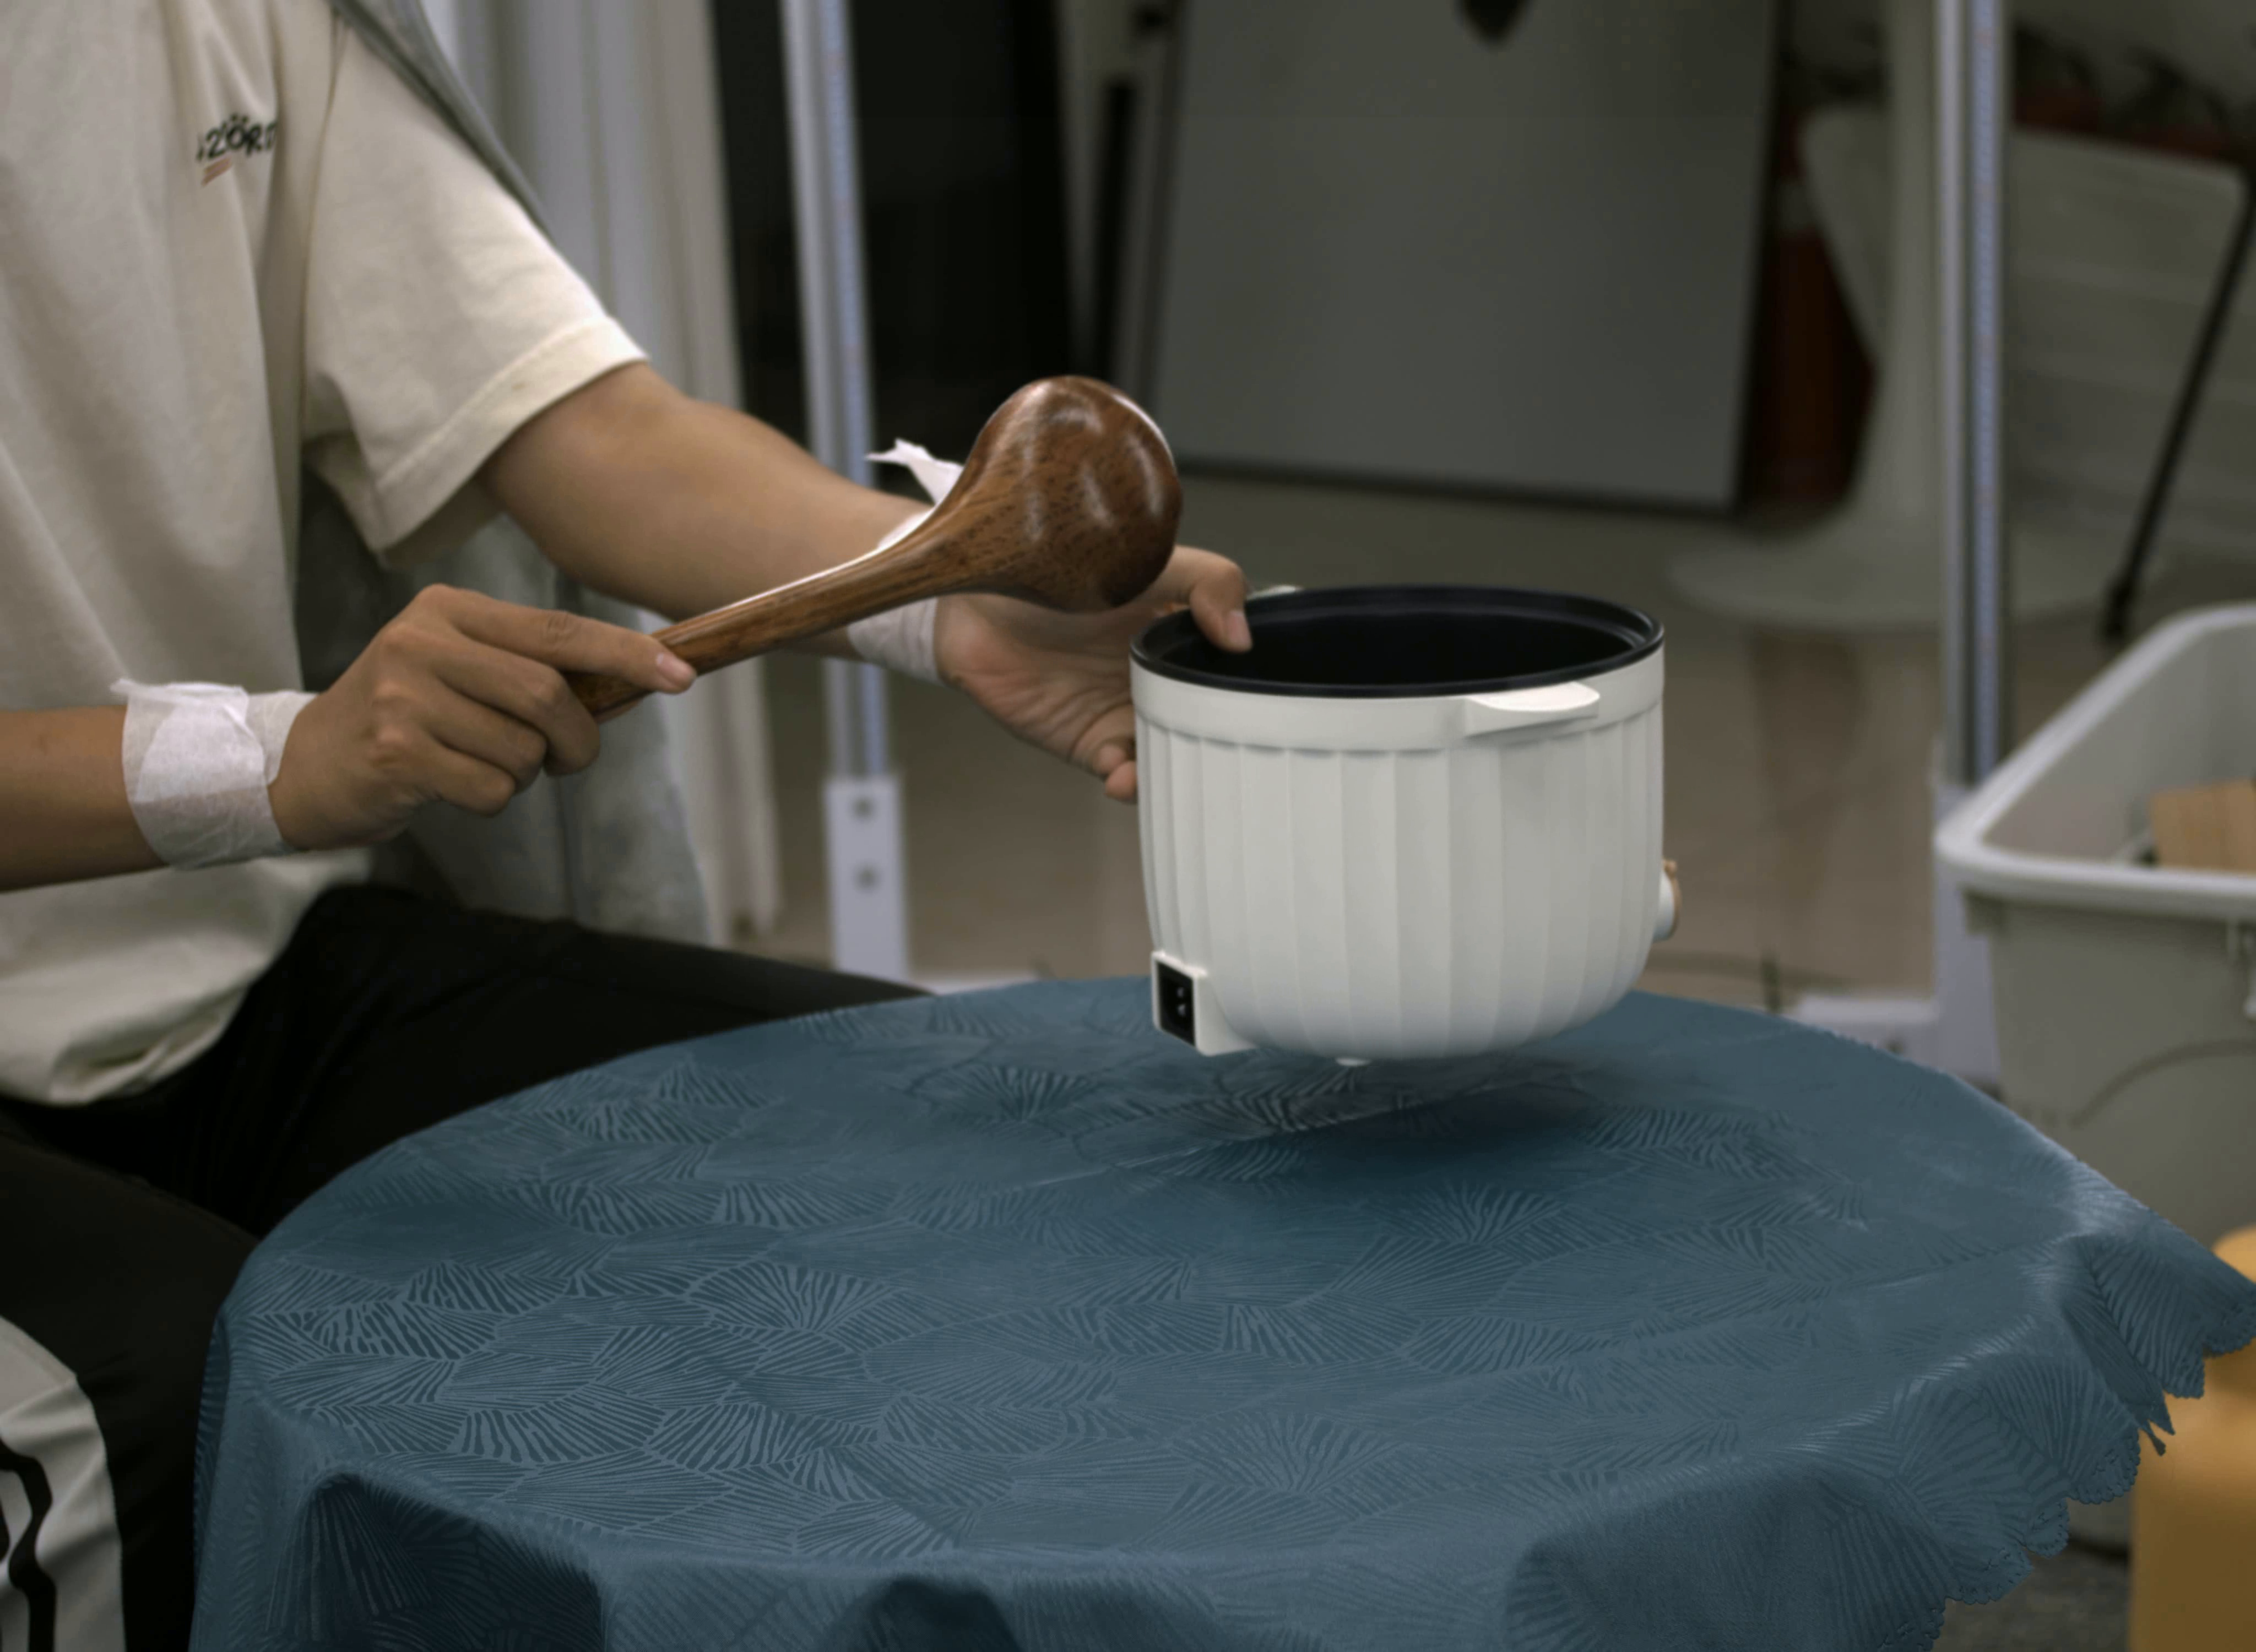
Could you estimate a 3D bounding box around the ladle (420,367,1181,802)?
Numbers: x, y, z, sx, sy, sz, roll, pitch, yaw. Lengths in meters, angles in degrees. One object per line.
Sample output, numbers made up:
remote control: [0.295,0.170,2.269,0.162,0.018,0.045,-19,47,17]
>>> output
ladle: [-0.111,-0.075,1.835,0.273,0.082,0.076,-22,3,16]

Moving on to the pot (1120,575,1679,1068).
pot: [0.097,-0.002,1.829,0.186,0.144,0.243,-11,16,-22]
